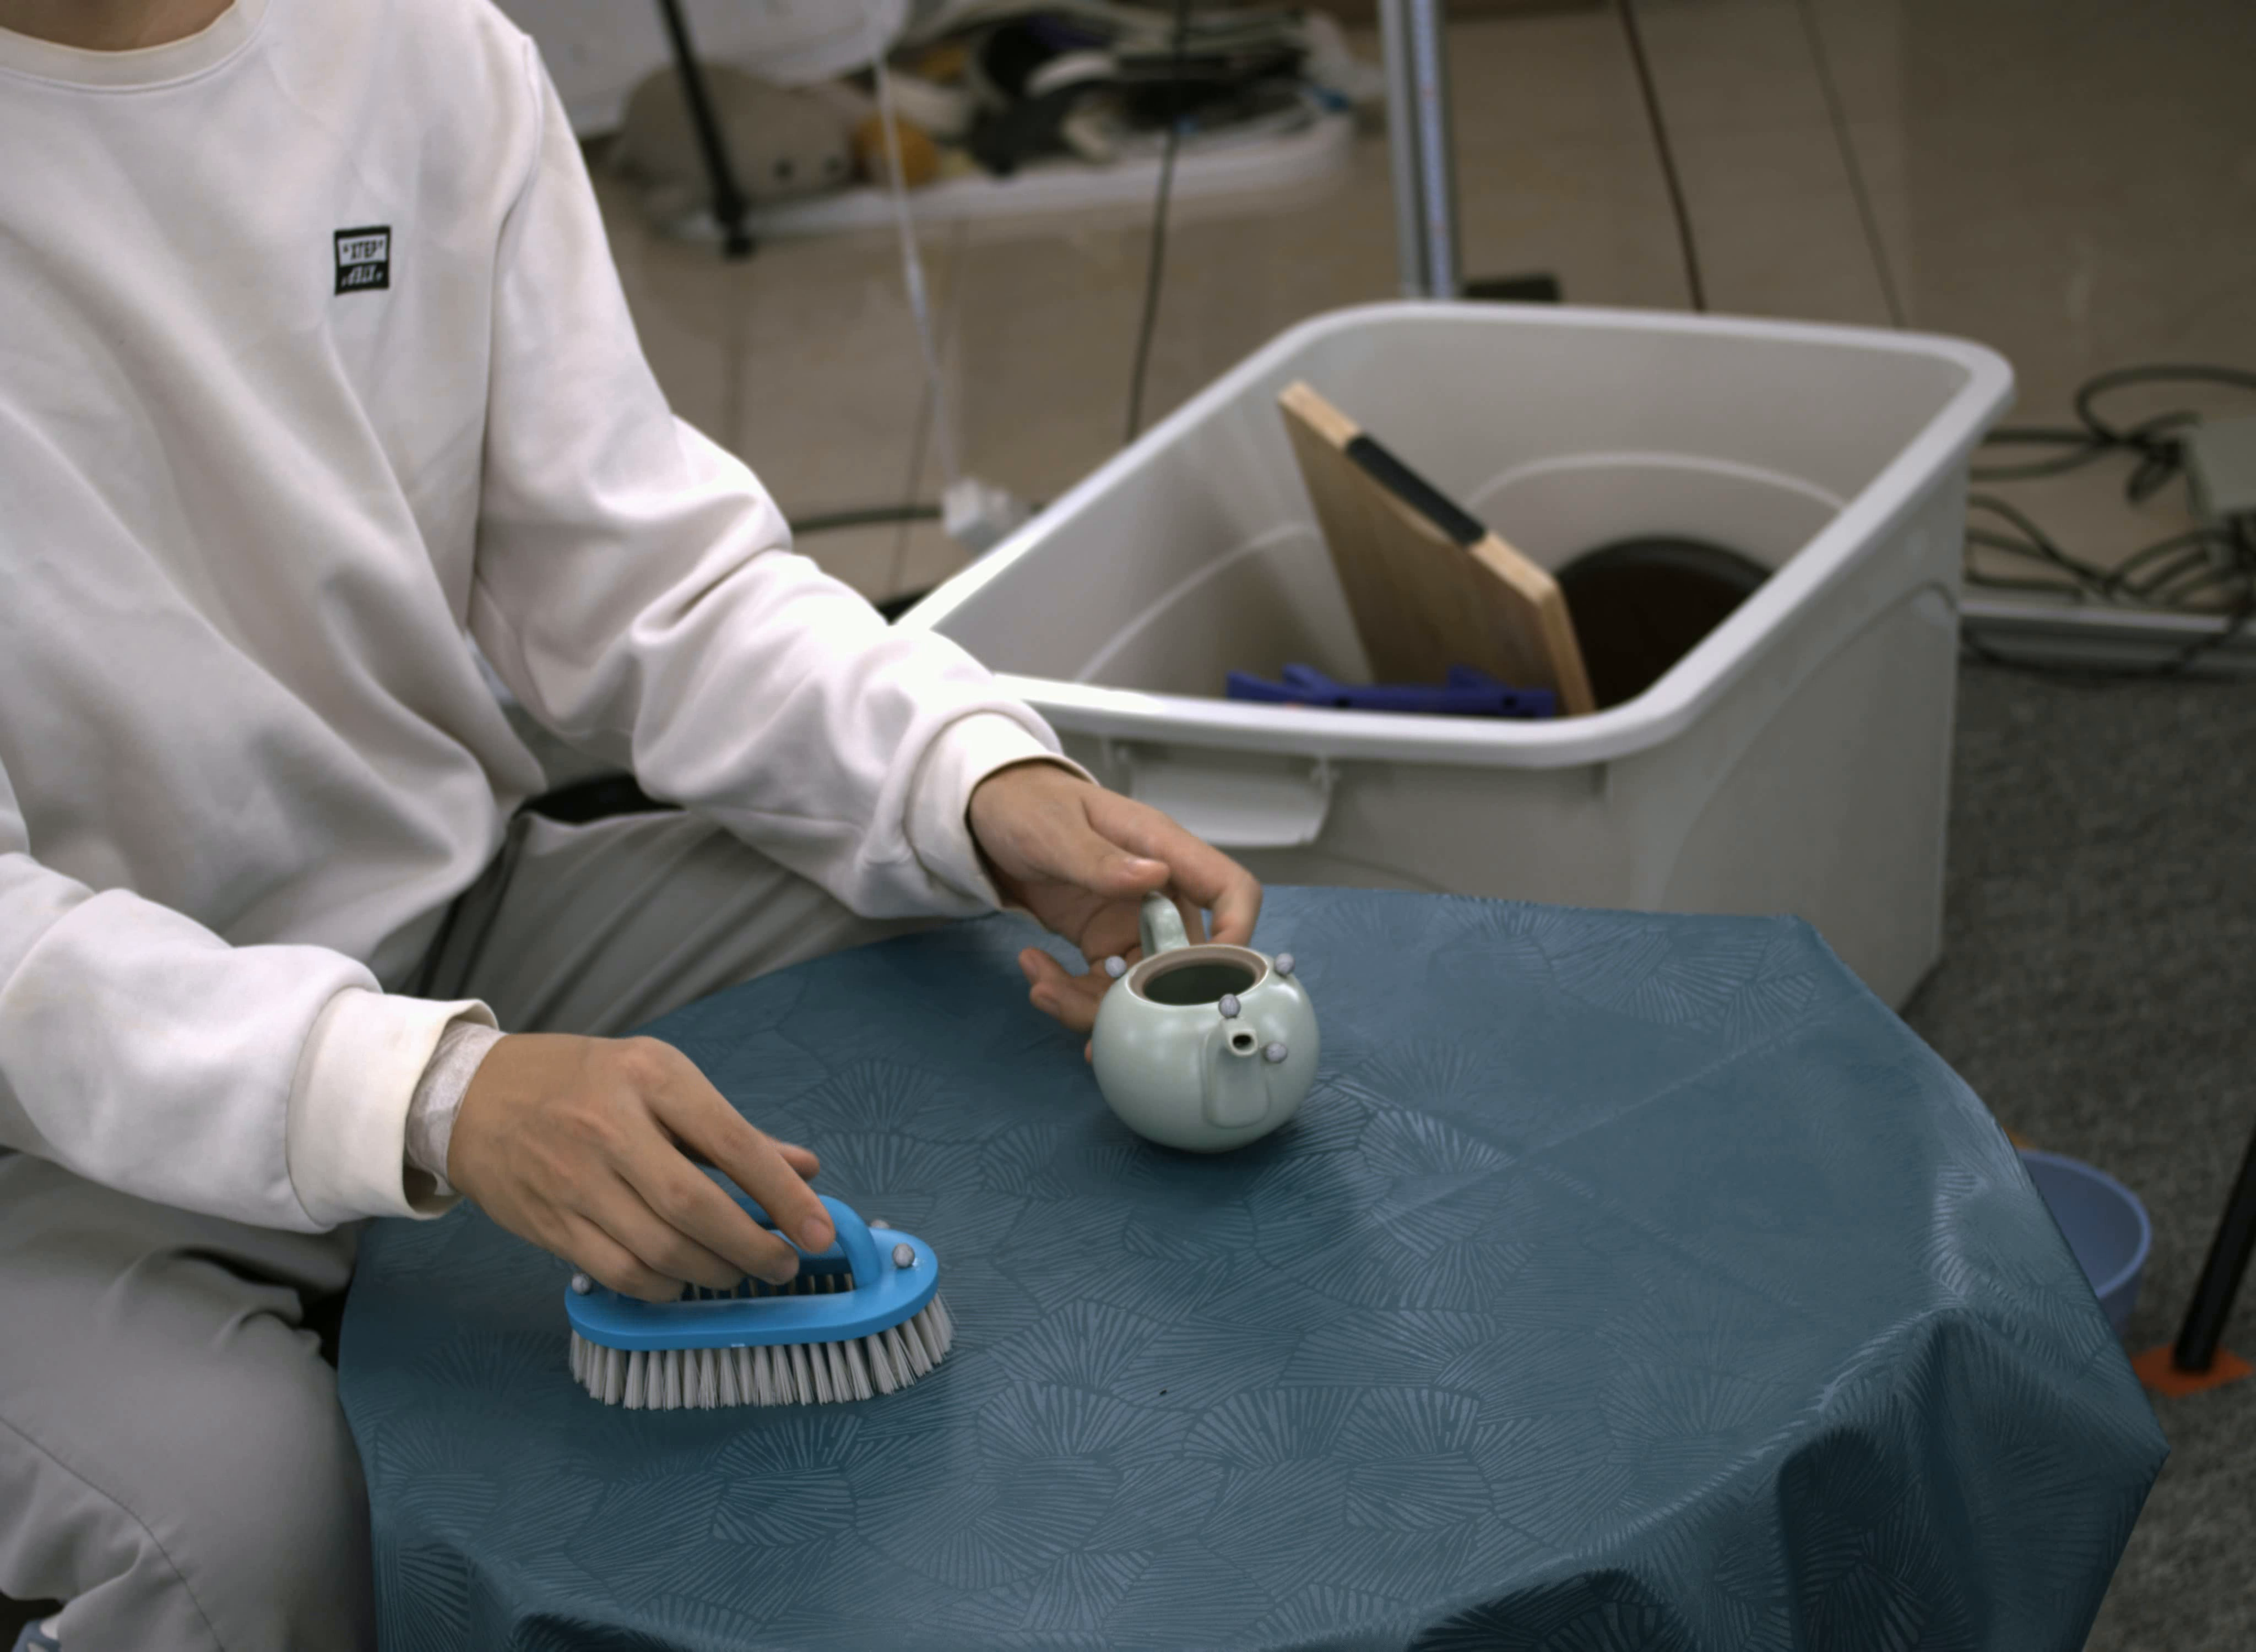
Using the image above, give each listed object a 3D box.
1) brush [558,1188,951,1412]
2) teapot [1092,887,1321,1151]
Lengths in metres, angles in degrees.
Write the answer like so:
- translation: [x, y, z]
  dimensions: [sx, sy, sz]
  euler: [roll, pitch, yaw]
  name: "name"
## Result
- translation: [-0.138, 0.163, 2.050]
  dimensions: [0.141, 0.065, 0.083]
  euler: [-3, 29, 9]
  name: "brush"
- translation: [0.030, 0.083, 2.173]
  dimensions: [0.088, 0.076, 0.142]
  euler: [-12, 28, -8]
  name: "teapot"
